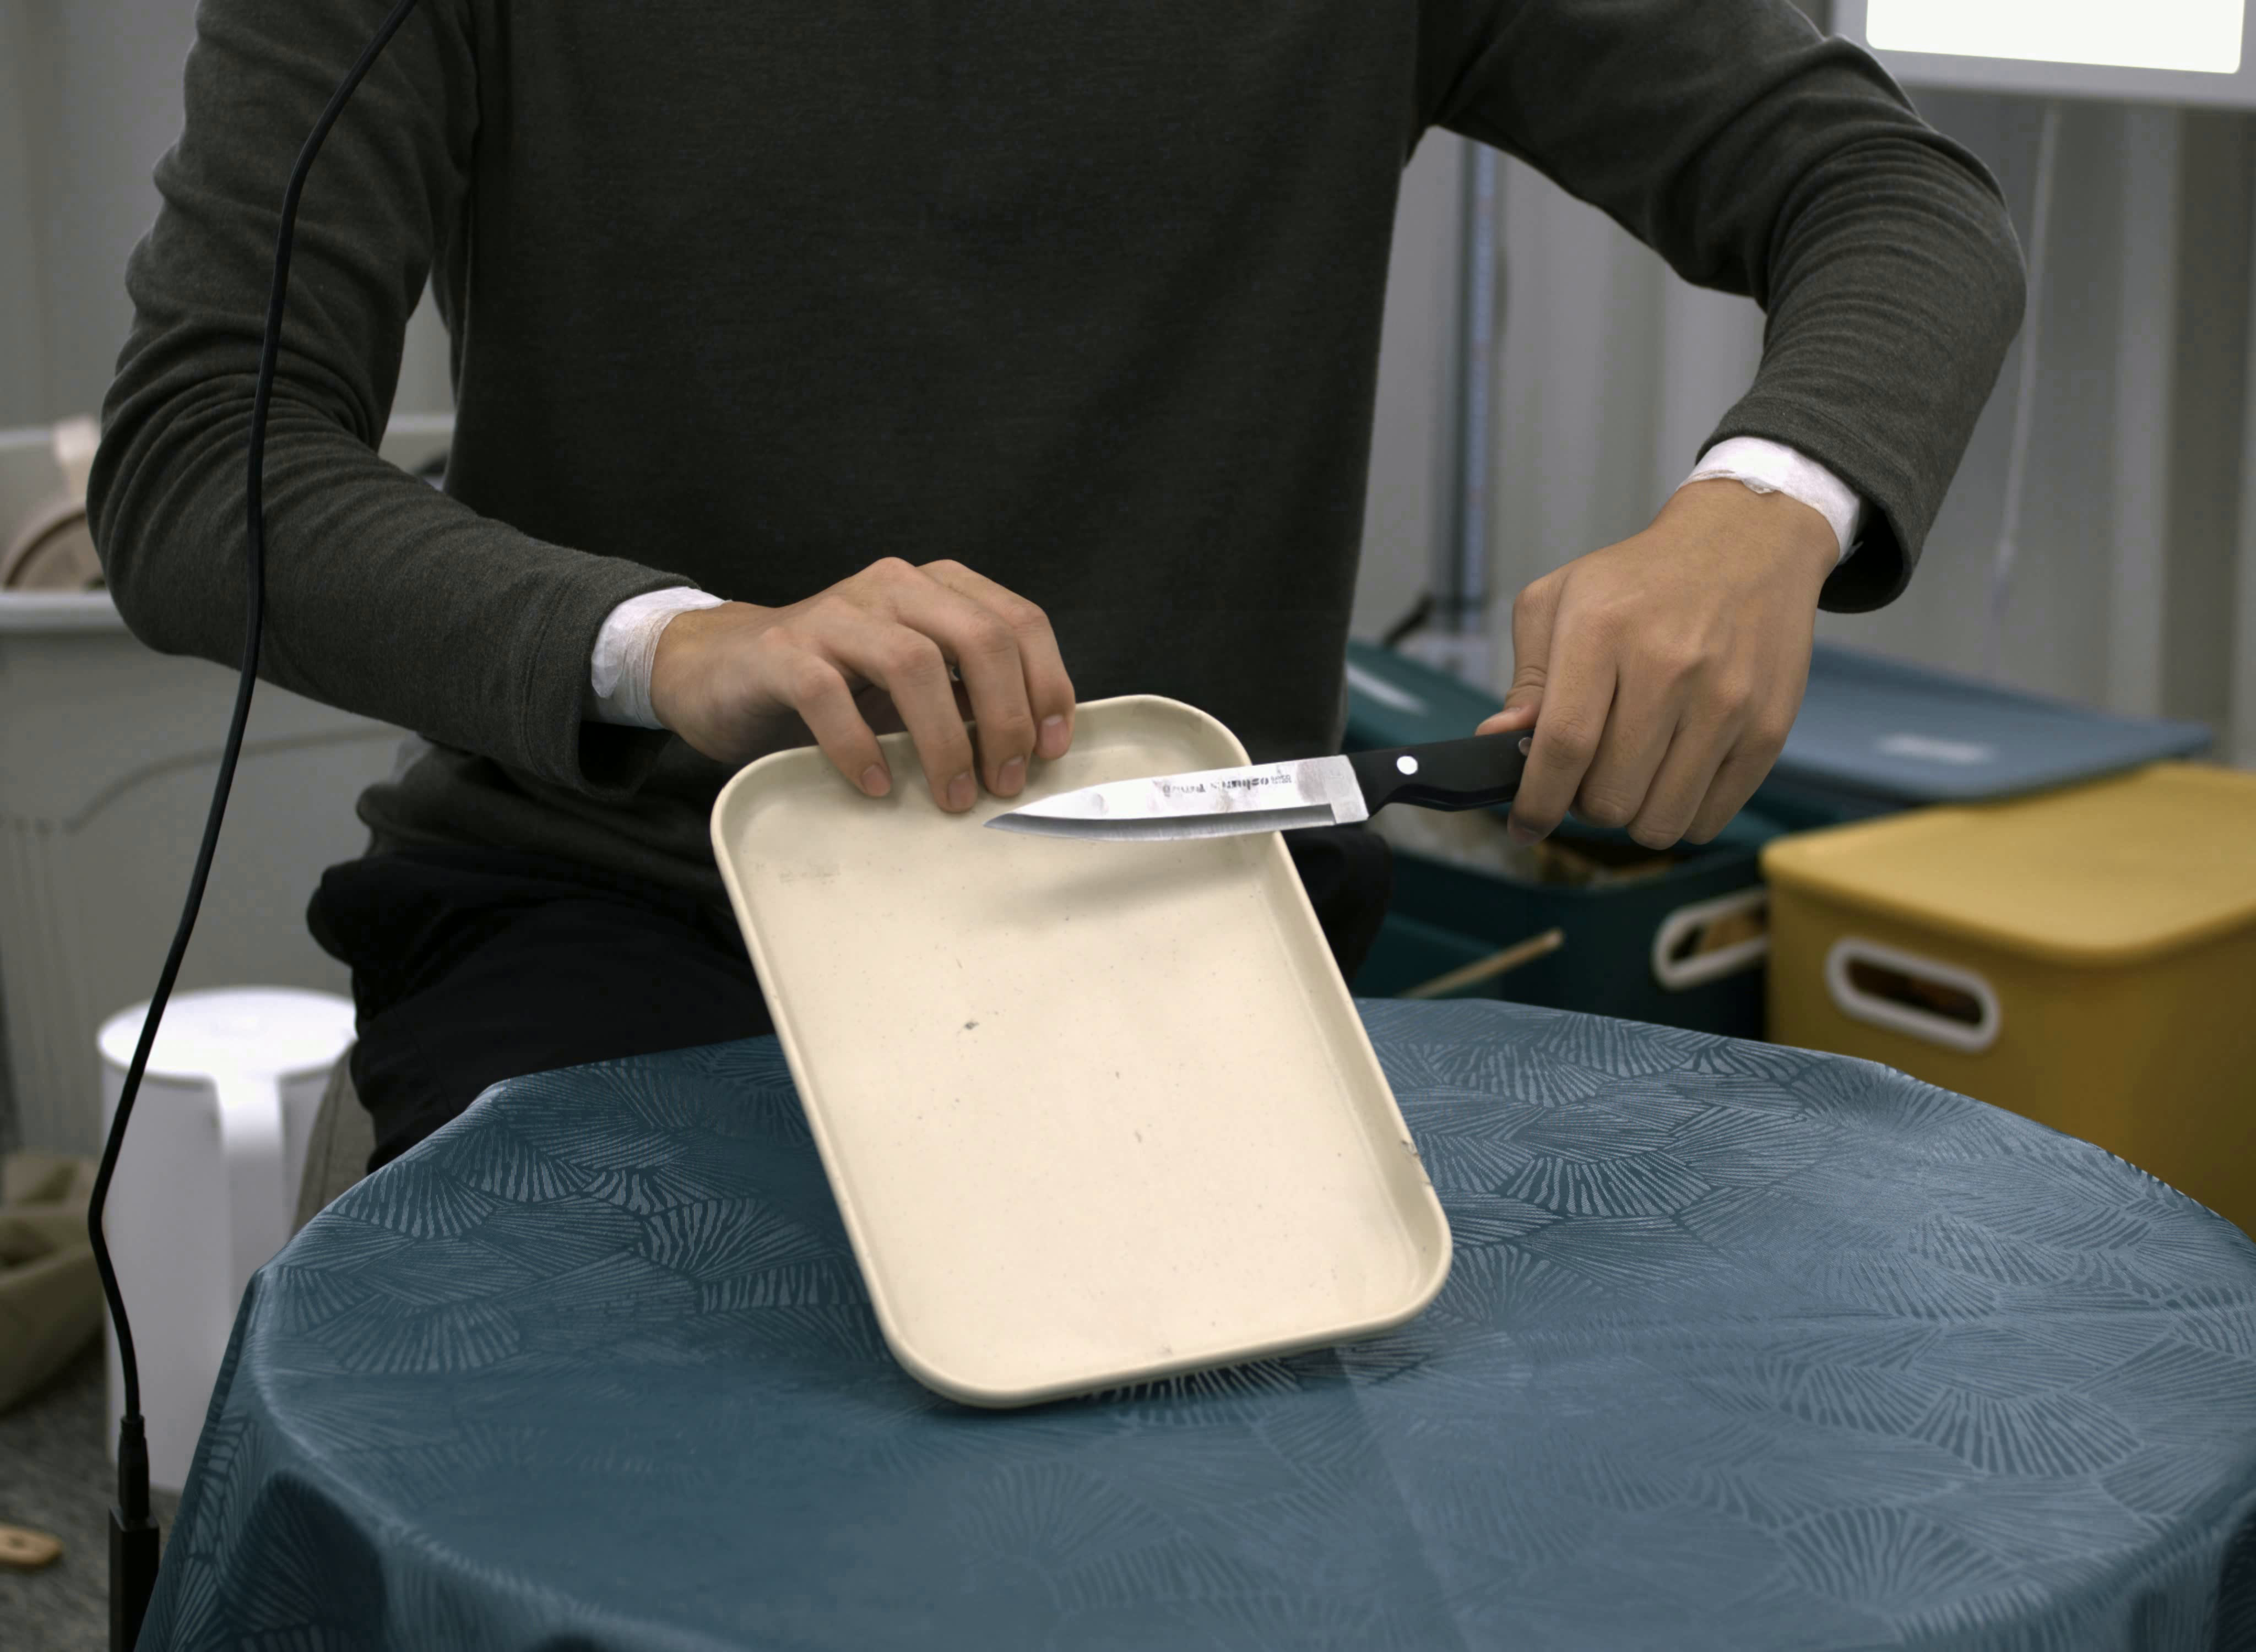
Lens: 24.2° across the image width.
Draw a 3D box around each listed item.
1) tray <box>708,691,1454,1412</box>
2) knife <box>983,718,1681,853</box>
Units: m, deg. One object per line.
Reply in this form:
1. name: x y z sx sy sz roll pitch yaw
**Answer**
1. tray: -0.017 0.062 1.528 0.171 0.017 0.237 -9 54 -18
2. knife: 0.063 -0.012 1.595 0.239 0.024 0.016 -8 -22 -26
